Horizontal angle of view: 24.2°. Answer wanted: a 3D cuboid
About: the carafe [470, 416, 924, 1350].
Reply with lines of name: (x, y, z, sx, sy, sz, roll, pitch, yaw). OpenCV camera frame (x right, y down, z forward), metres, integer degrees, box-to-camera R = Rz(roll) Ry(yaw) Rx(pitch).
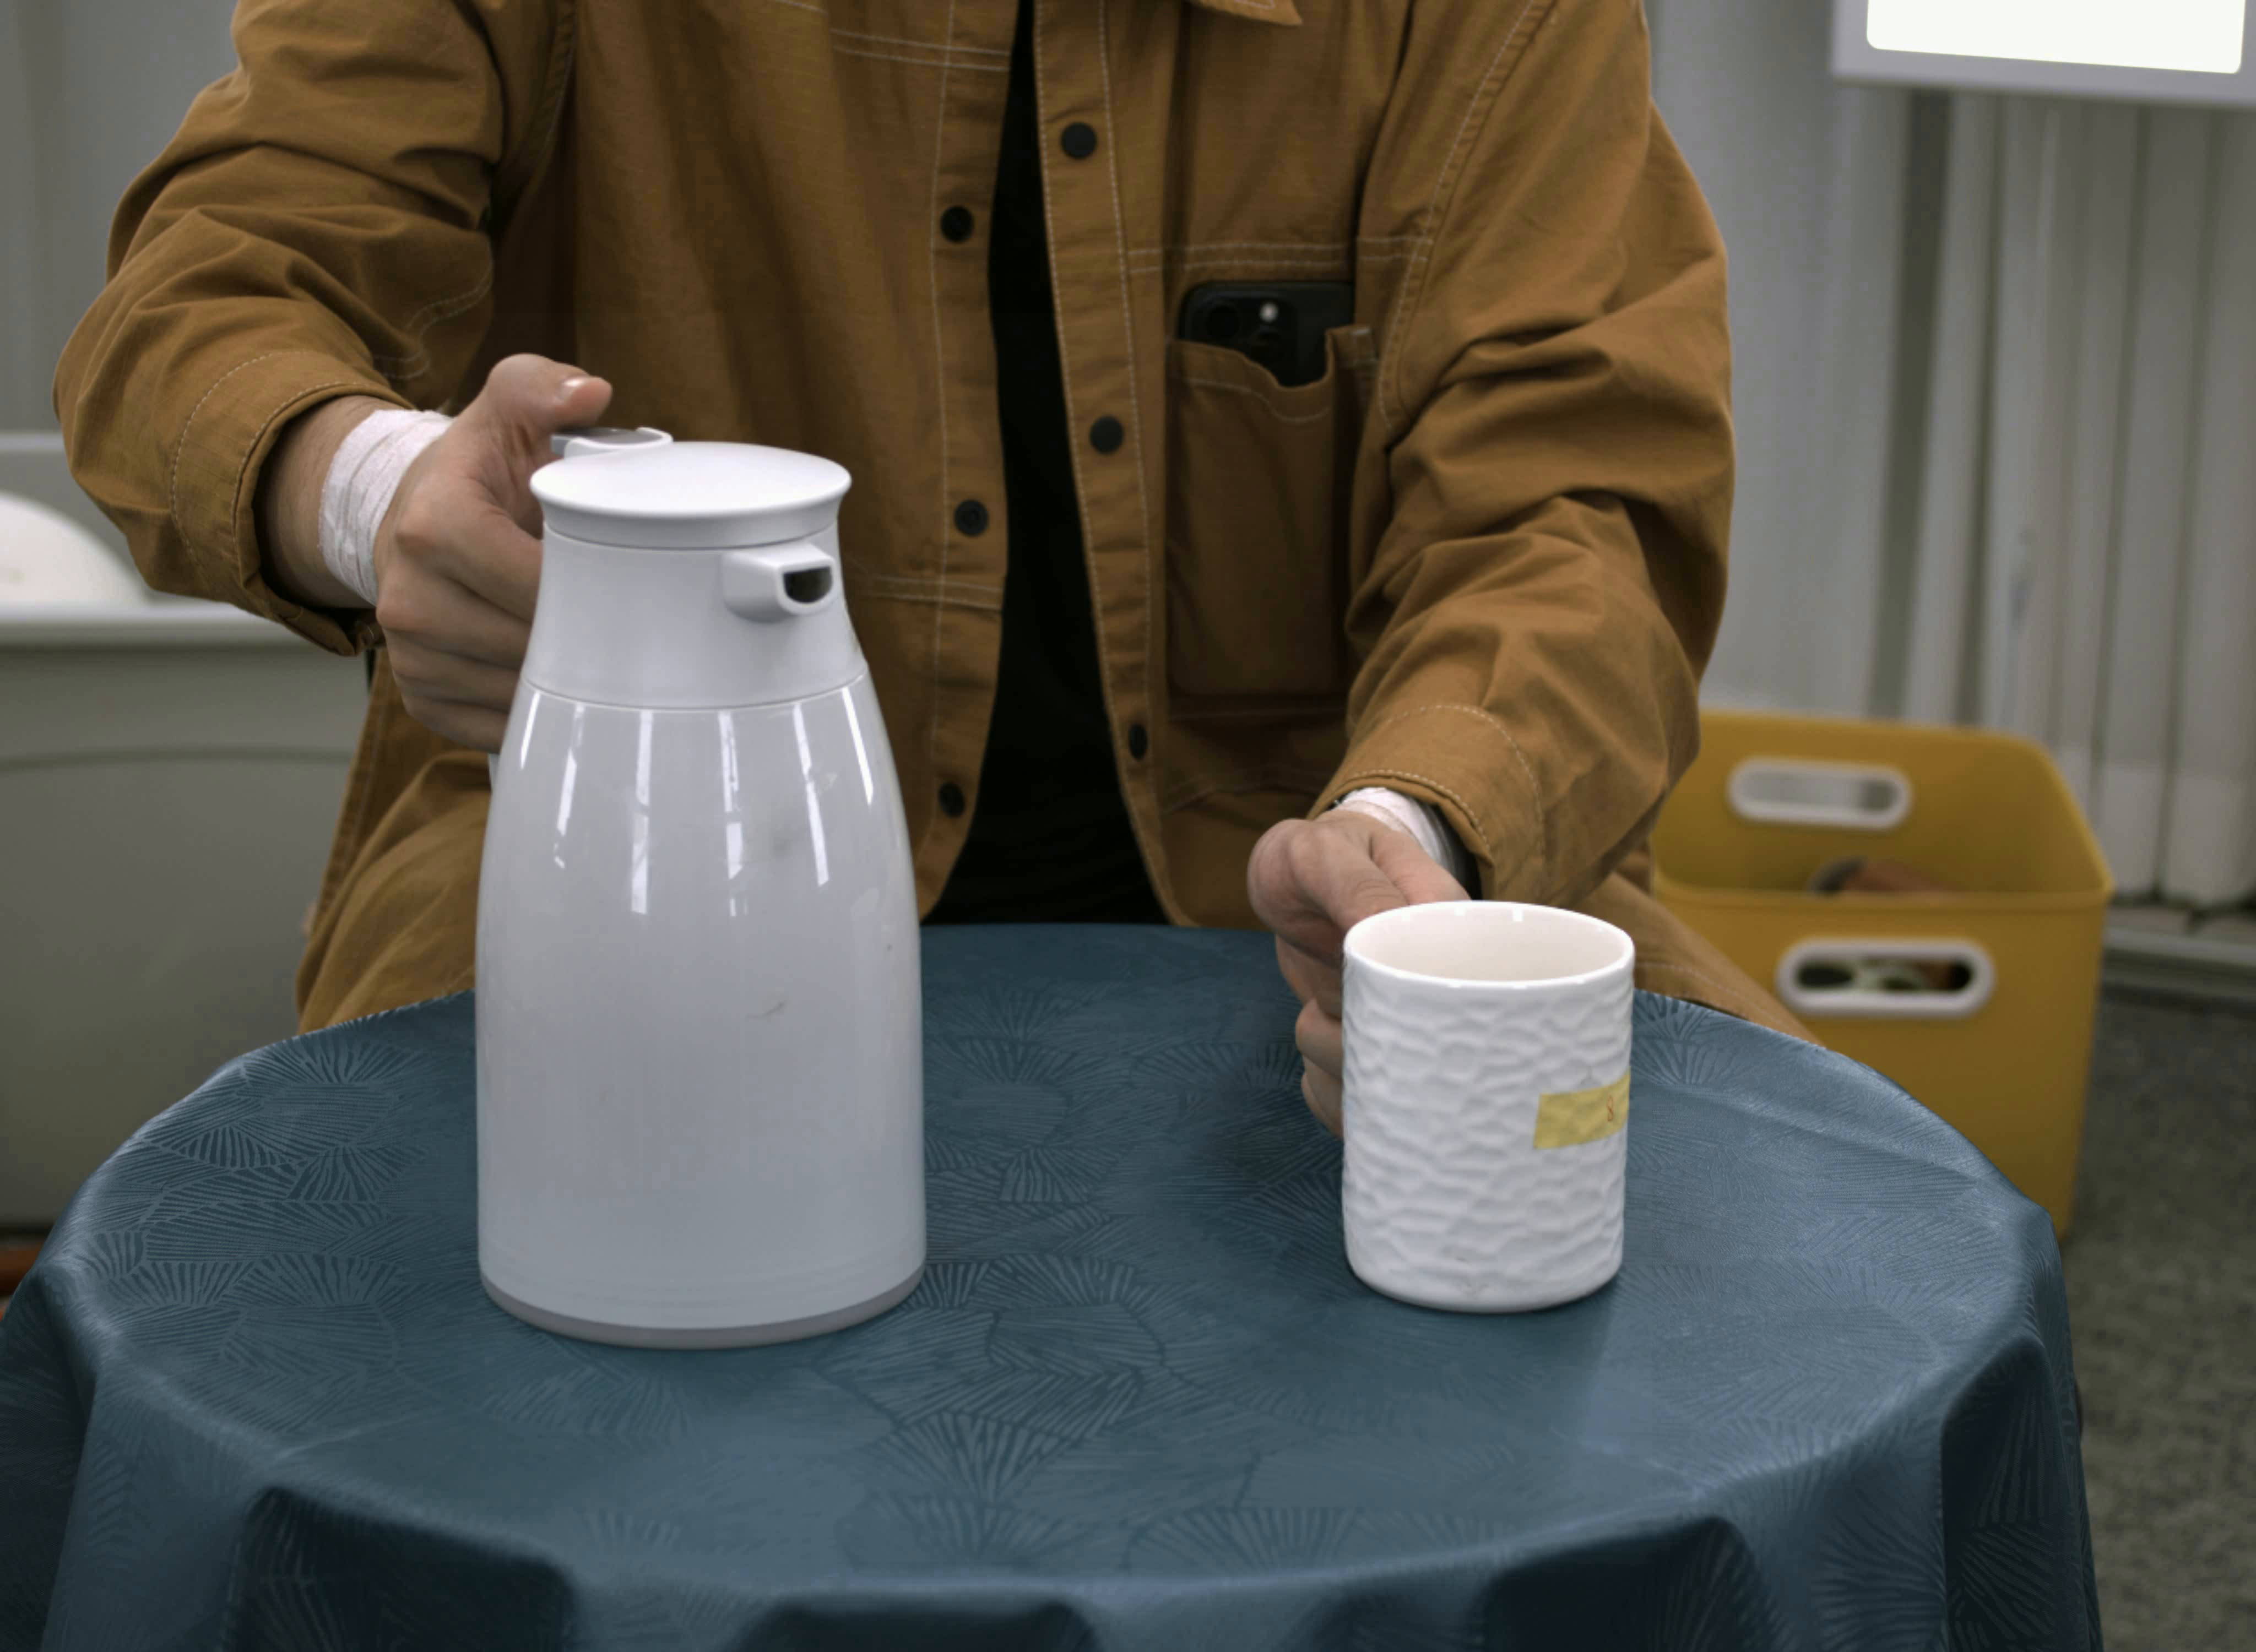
carafe: (-0.138, 0.008, 1.528, 0.133, 0.250, 0.165, -13, 20, -36)

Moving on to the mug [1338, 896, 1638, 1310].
mug: (0.097, 0.077, 1.557, 0.085, 0.103, 0.117, -8, 18, -29)
